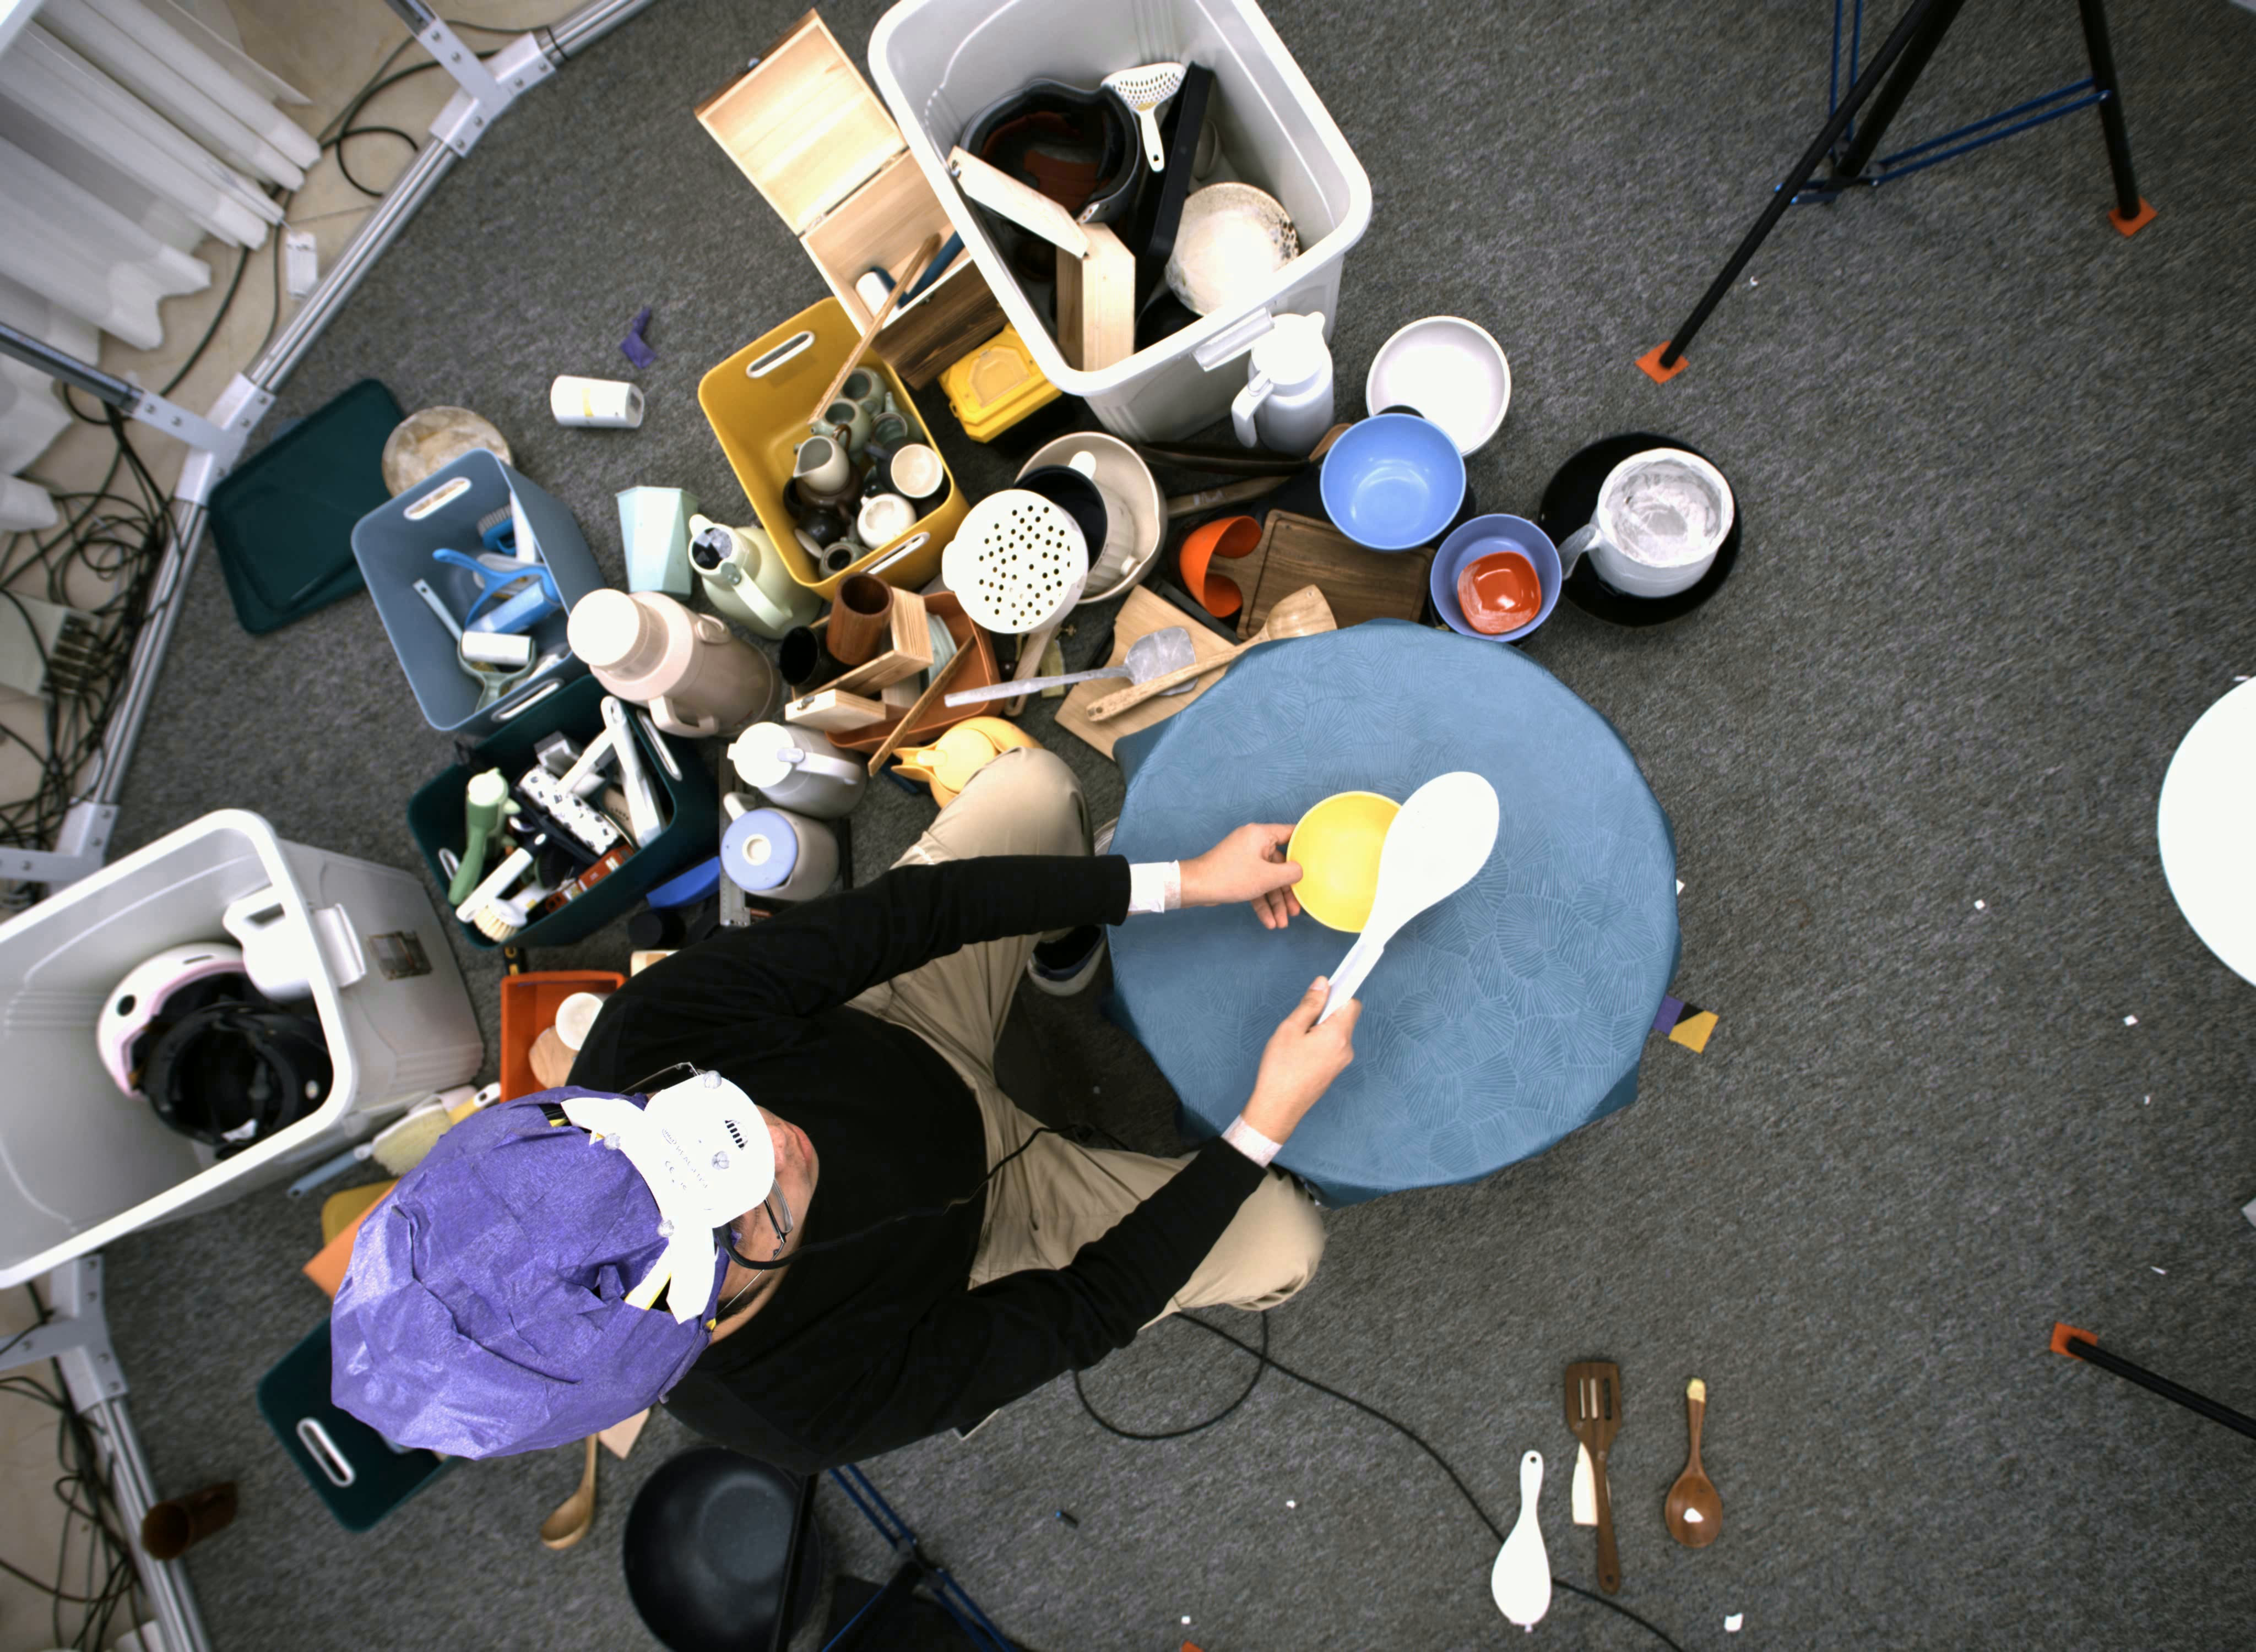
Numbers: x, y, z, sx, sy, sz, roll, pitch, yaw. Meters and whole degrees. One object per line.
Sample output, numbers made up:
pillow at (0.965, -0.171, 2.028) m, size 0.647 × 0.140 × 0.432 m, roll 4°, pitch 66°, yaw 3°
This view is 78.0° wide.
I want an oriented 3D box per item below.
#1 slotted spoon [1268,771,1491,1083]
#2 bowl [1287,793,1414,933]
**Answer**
slotted spoon at (0.239, 0.100, 1.339) m, size 0.046 × 0.134 × 0.351 m, roll 33°, pitch 96°, yaw -30°
bowl at (0.239, 0.040, 1.439) m, size 0.146 × 0.060 × 0.144 m, roll -1°, pitch 84°, yaw 10°
